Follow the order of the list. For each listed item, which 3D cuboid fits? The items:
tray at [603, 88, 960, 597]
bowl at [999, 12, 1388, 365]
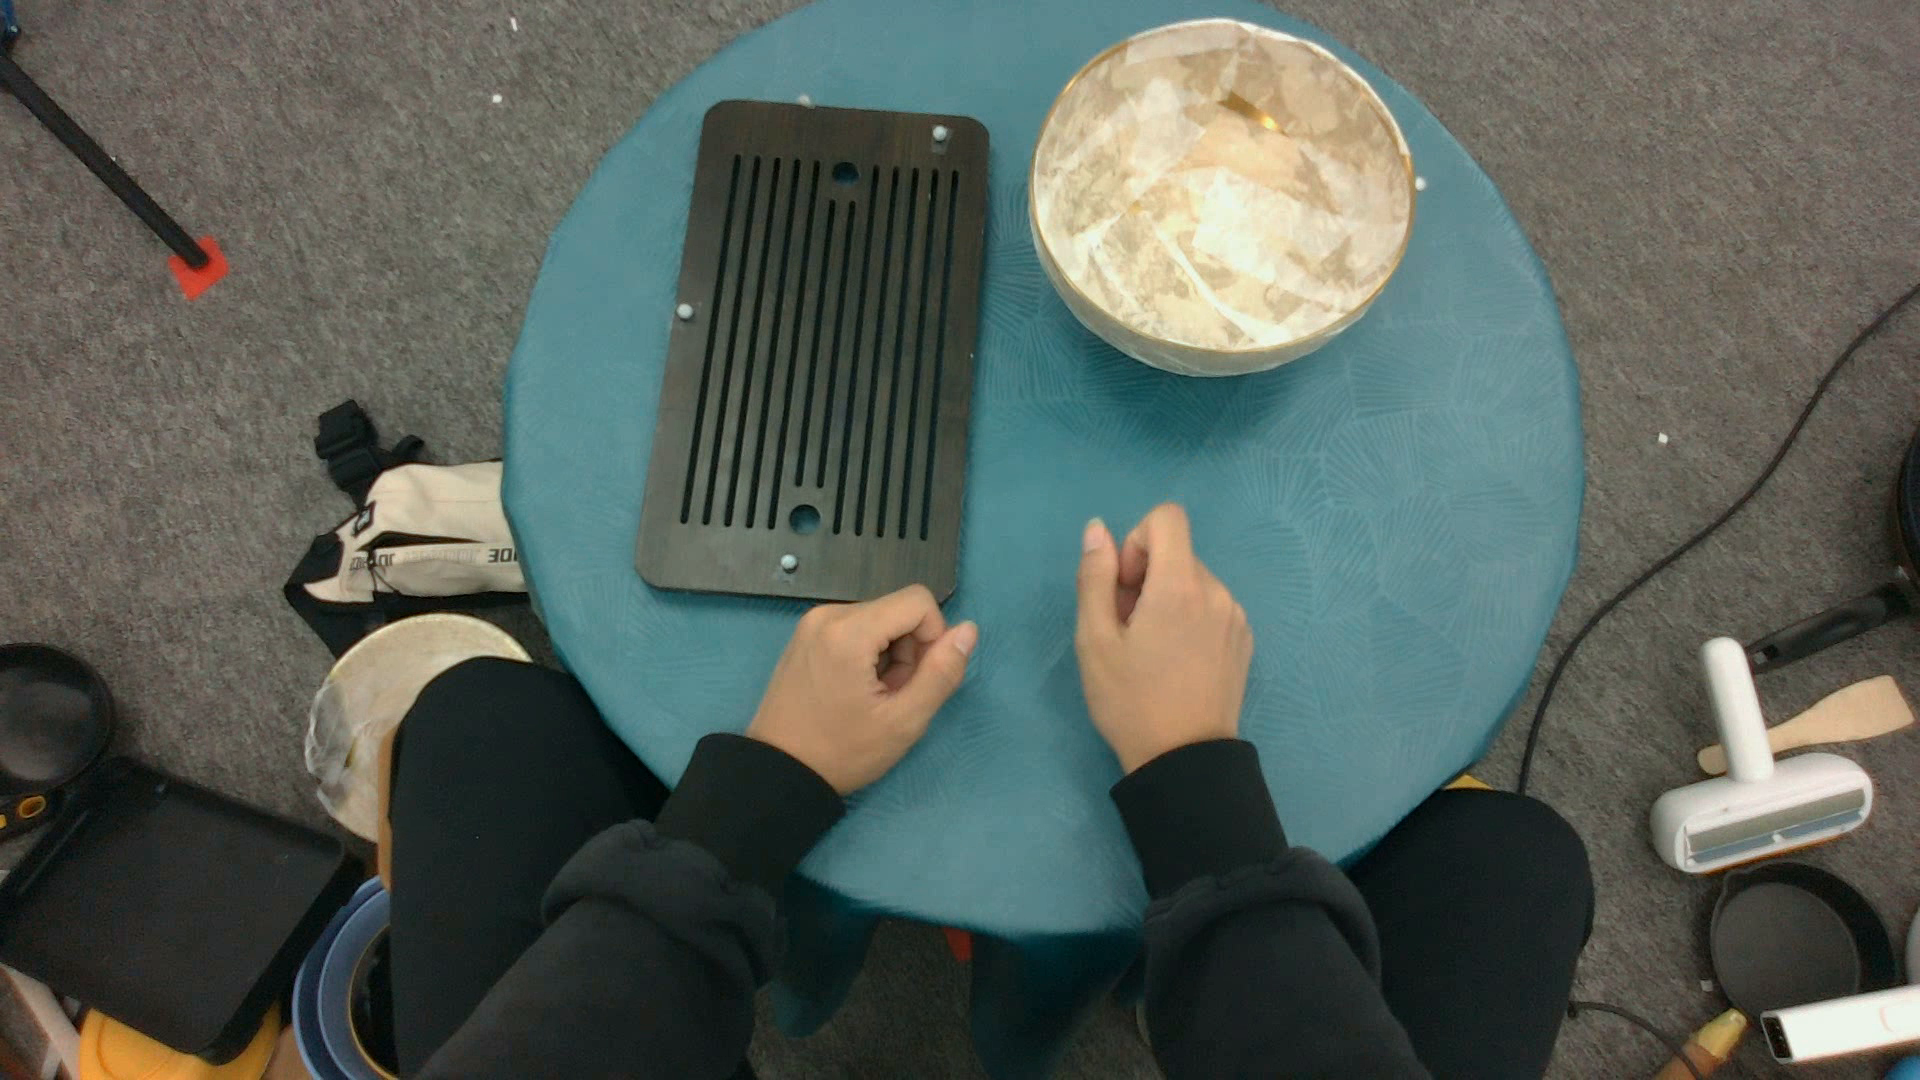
[{"bbox_3d":[-0.093,-0.117,0.768,0.170,0.018,0.307,4,70,0],"label":"tray"},{"bbox_3d":[0.118,-0.176,0.757,0.215,0.094,0.215,1,70,-3],"label":"bowl"}]
